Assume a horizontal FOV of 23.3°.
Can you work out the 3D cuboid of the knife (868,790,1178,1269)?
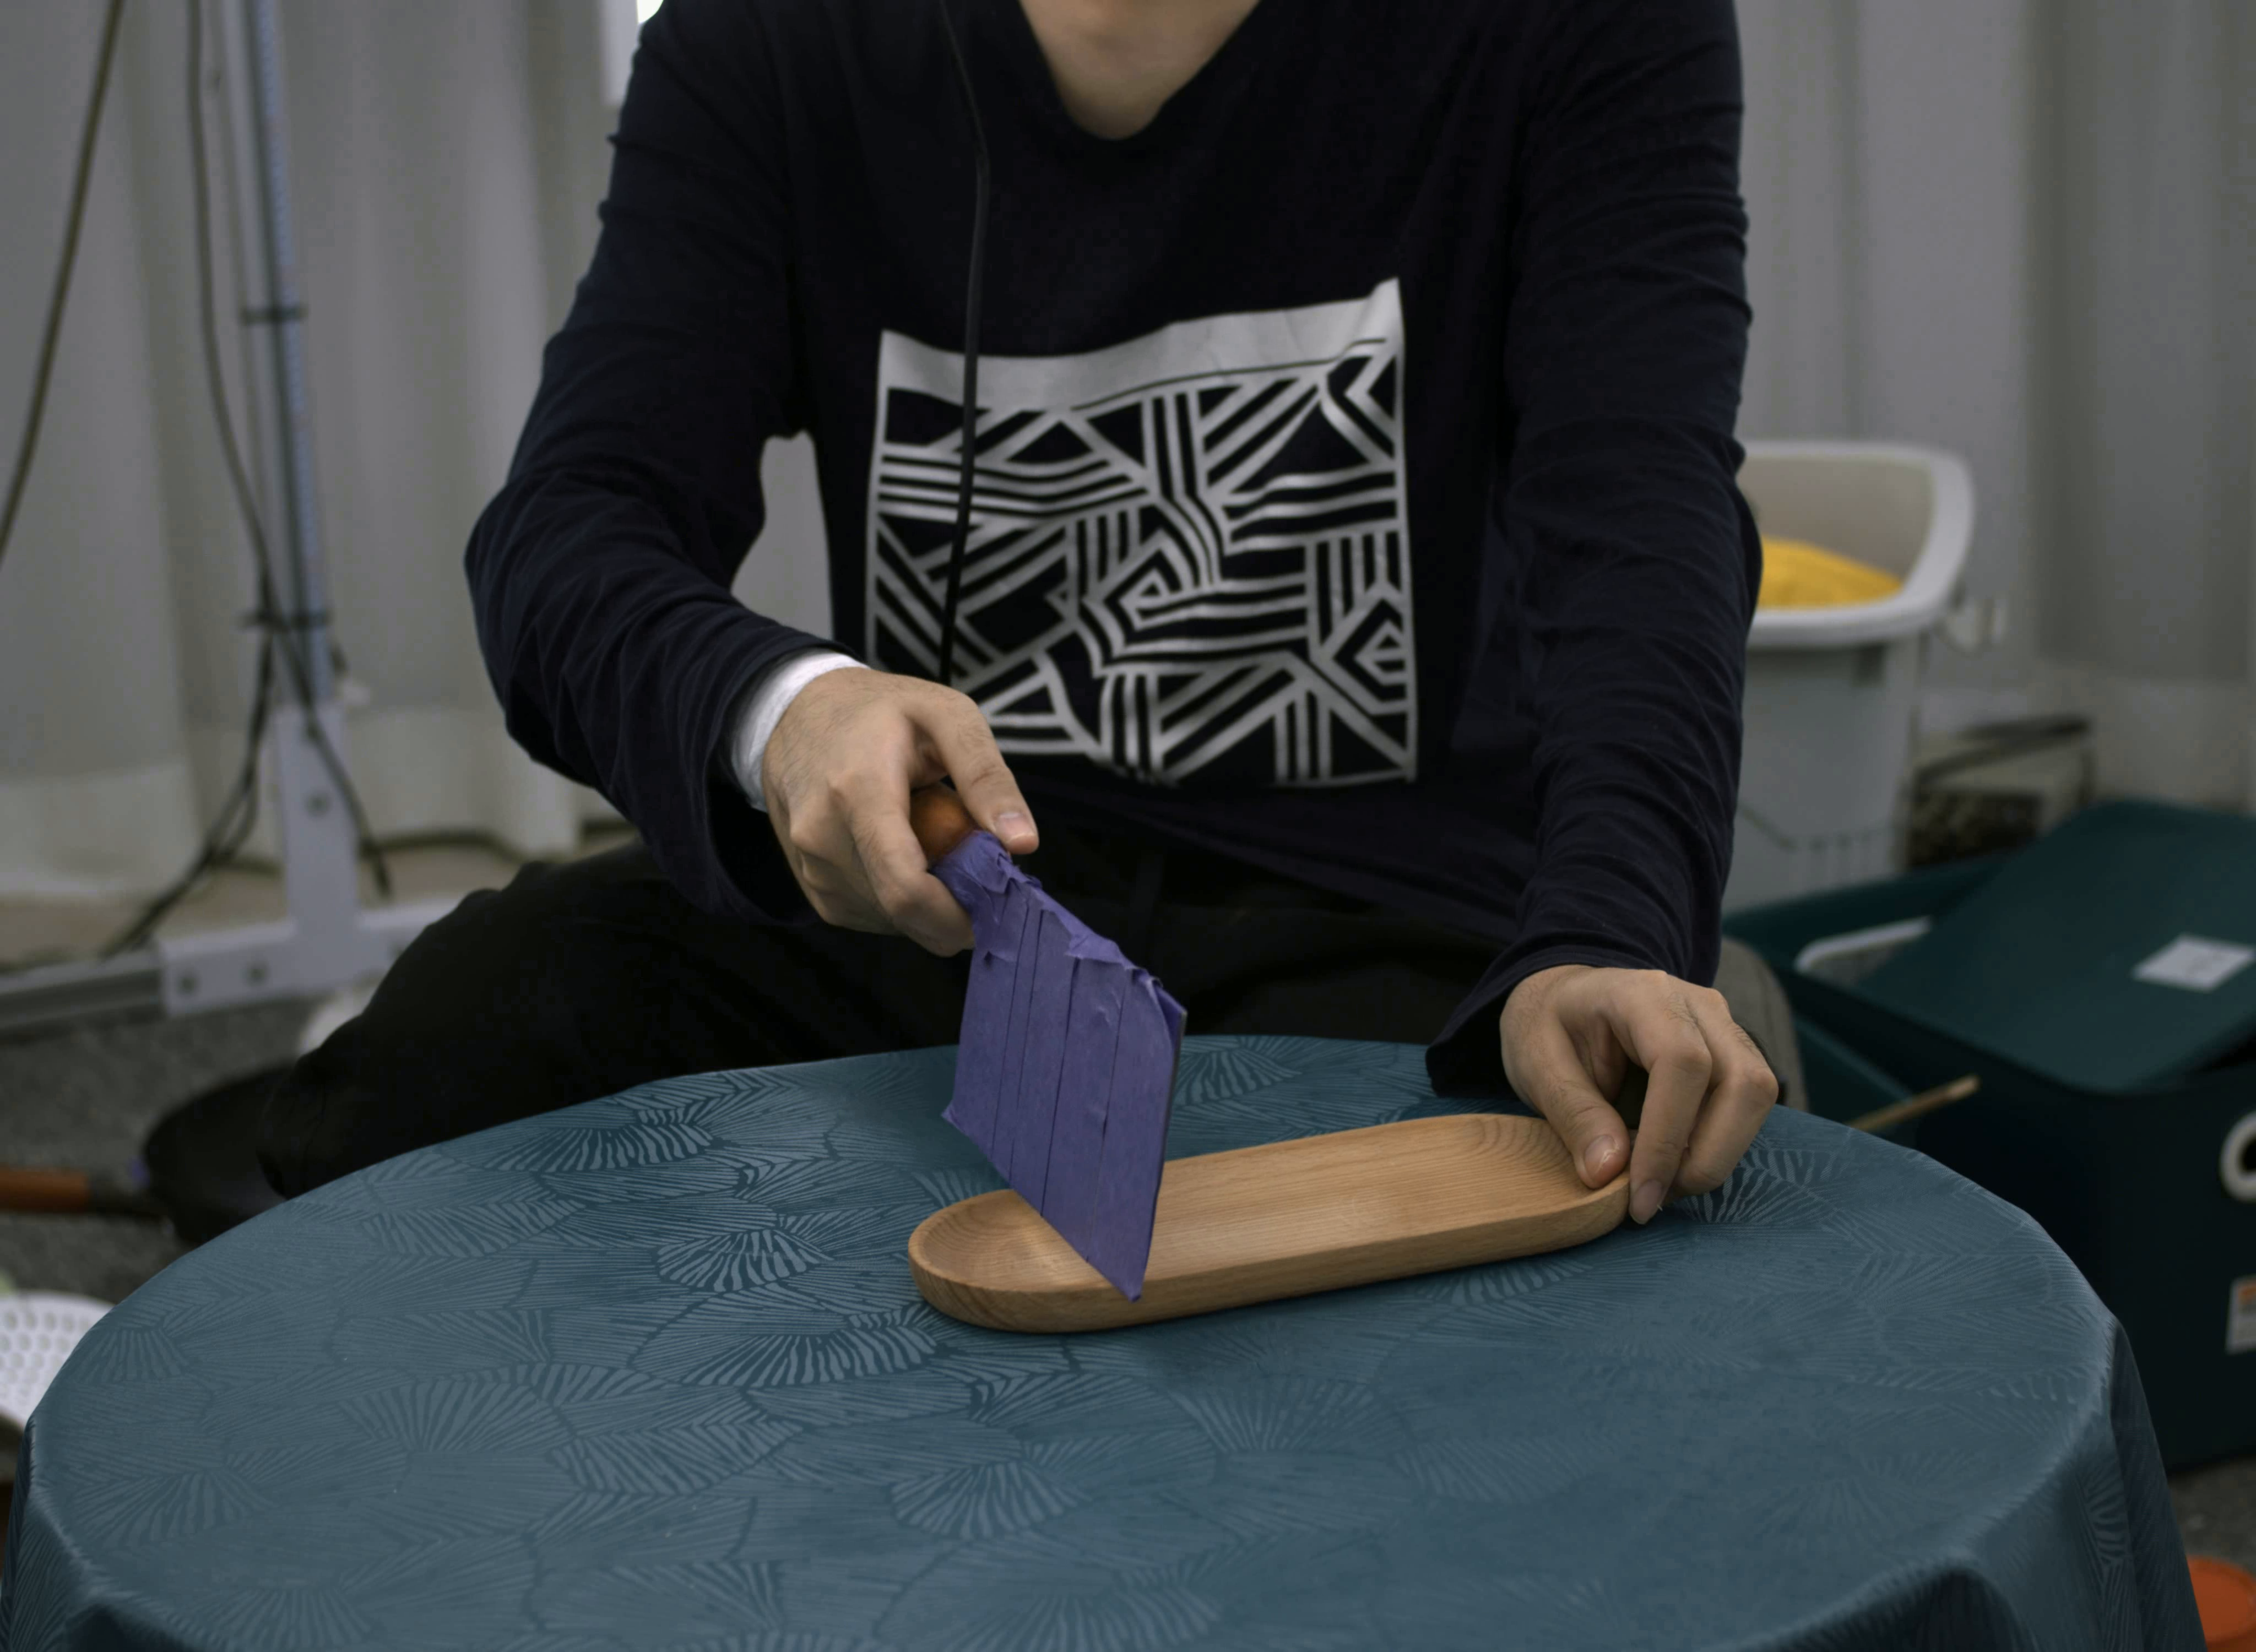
[{"bbox_3d":[-0.038,0.060,1.688,0.032,0.104,0.317,8,9,-16],"label":"knife"}]

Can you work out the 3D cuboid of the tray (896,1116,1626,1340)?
[{"bbox_3d":[0.042,0.121,1.654,0.230,0.020,0.102,-10,15,-20],"label":"tray"}]
